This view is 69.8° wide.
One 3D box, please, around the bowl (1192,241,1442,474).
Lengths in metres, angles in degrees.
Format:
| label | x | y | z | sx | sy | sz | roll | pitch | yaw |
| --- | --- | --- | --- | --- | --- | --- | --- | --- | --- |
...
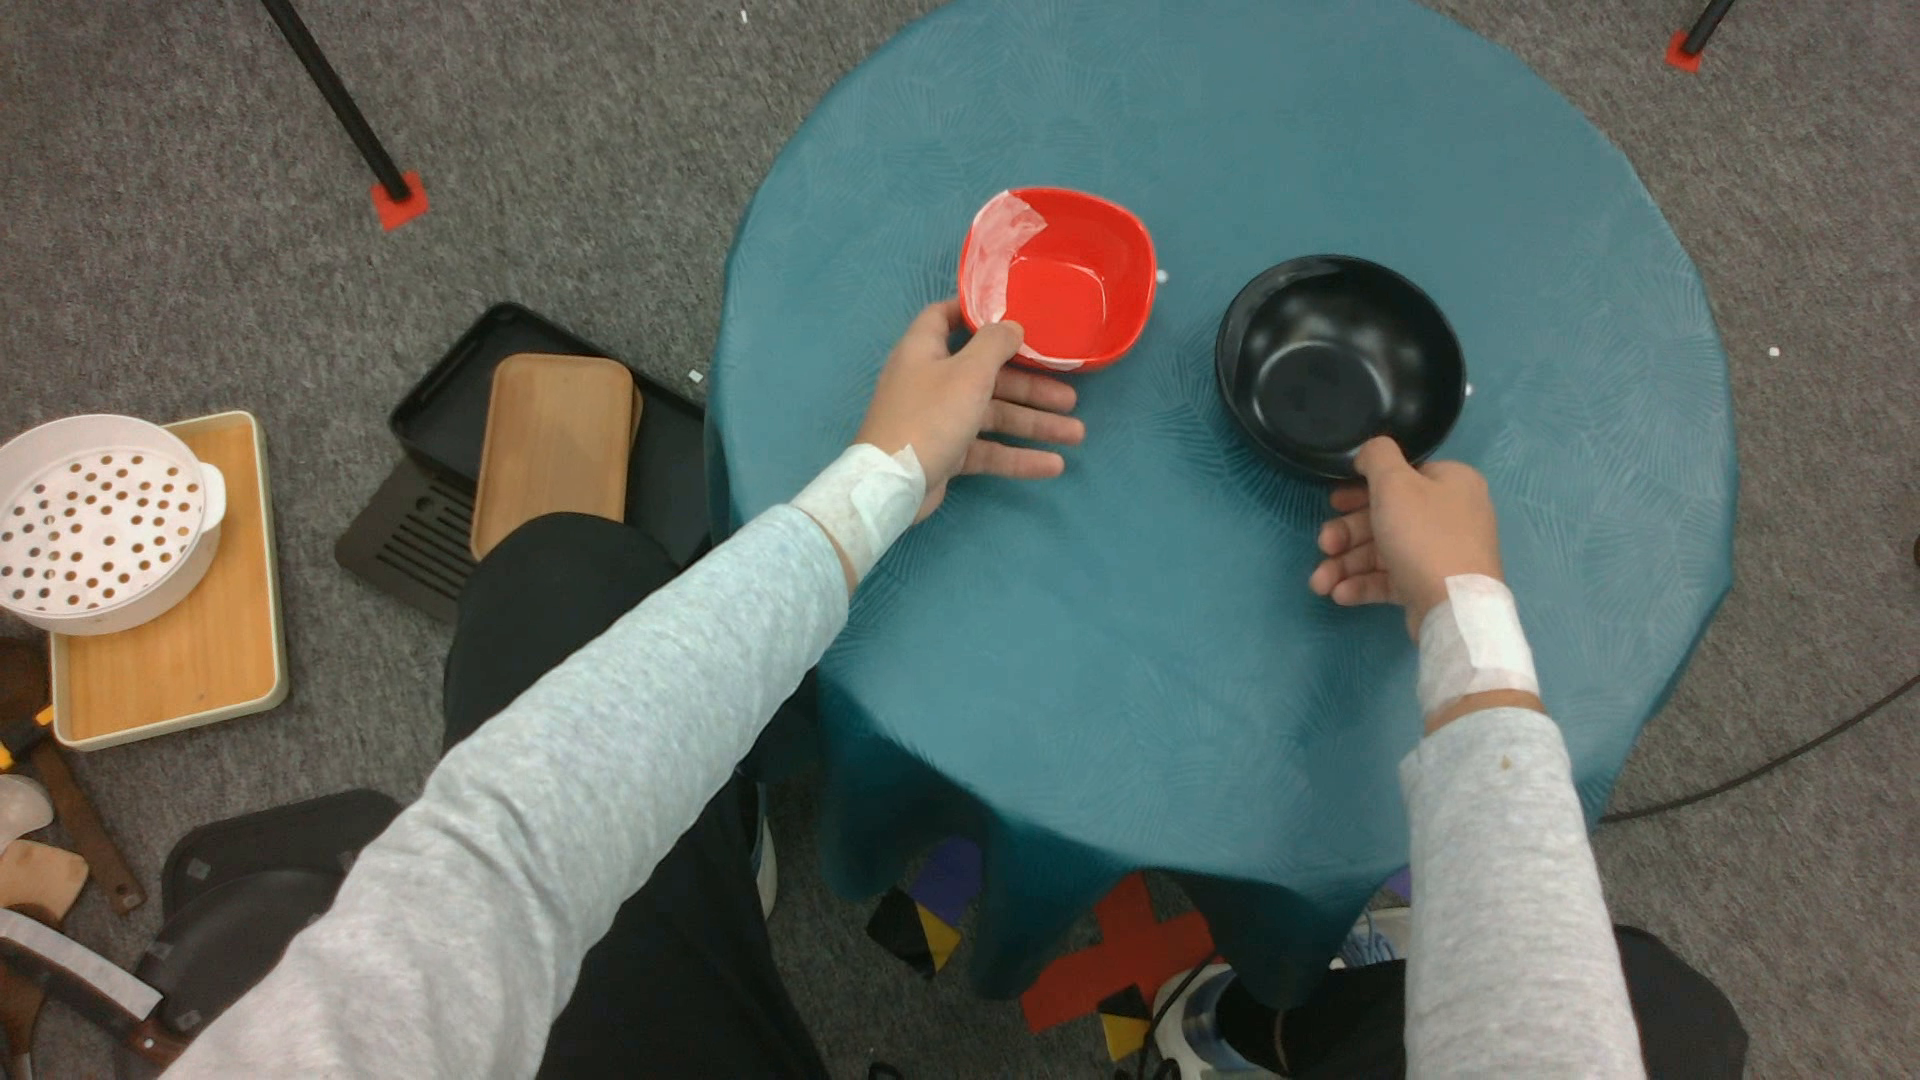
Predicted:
| label | x | y | z | sx | sy | sz | roll | pitch | yaw |
| --- | --- | --- | --- | --- | --- | --- | --- | --- | --- |
| bowl | 0.197 | -0.097 | 0.784 | 0.140 | 0.049 | 0.140 | 1 | 73 | -2 |

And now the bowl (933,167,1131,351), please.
| label | x | y | z | sx | sy | sz | roll | pitch | yaw |
| --- | --- | --- | --- | --- | --- | --- | --- | --- | --- |
| bowl | 0.038 | -0.151 | 0.786 | 0.119 | 0.051 | 0.119 | 2 | 68 | -5 |
